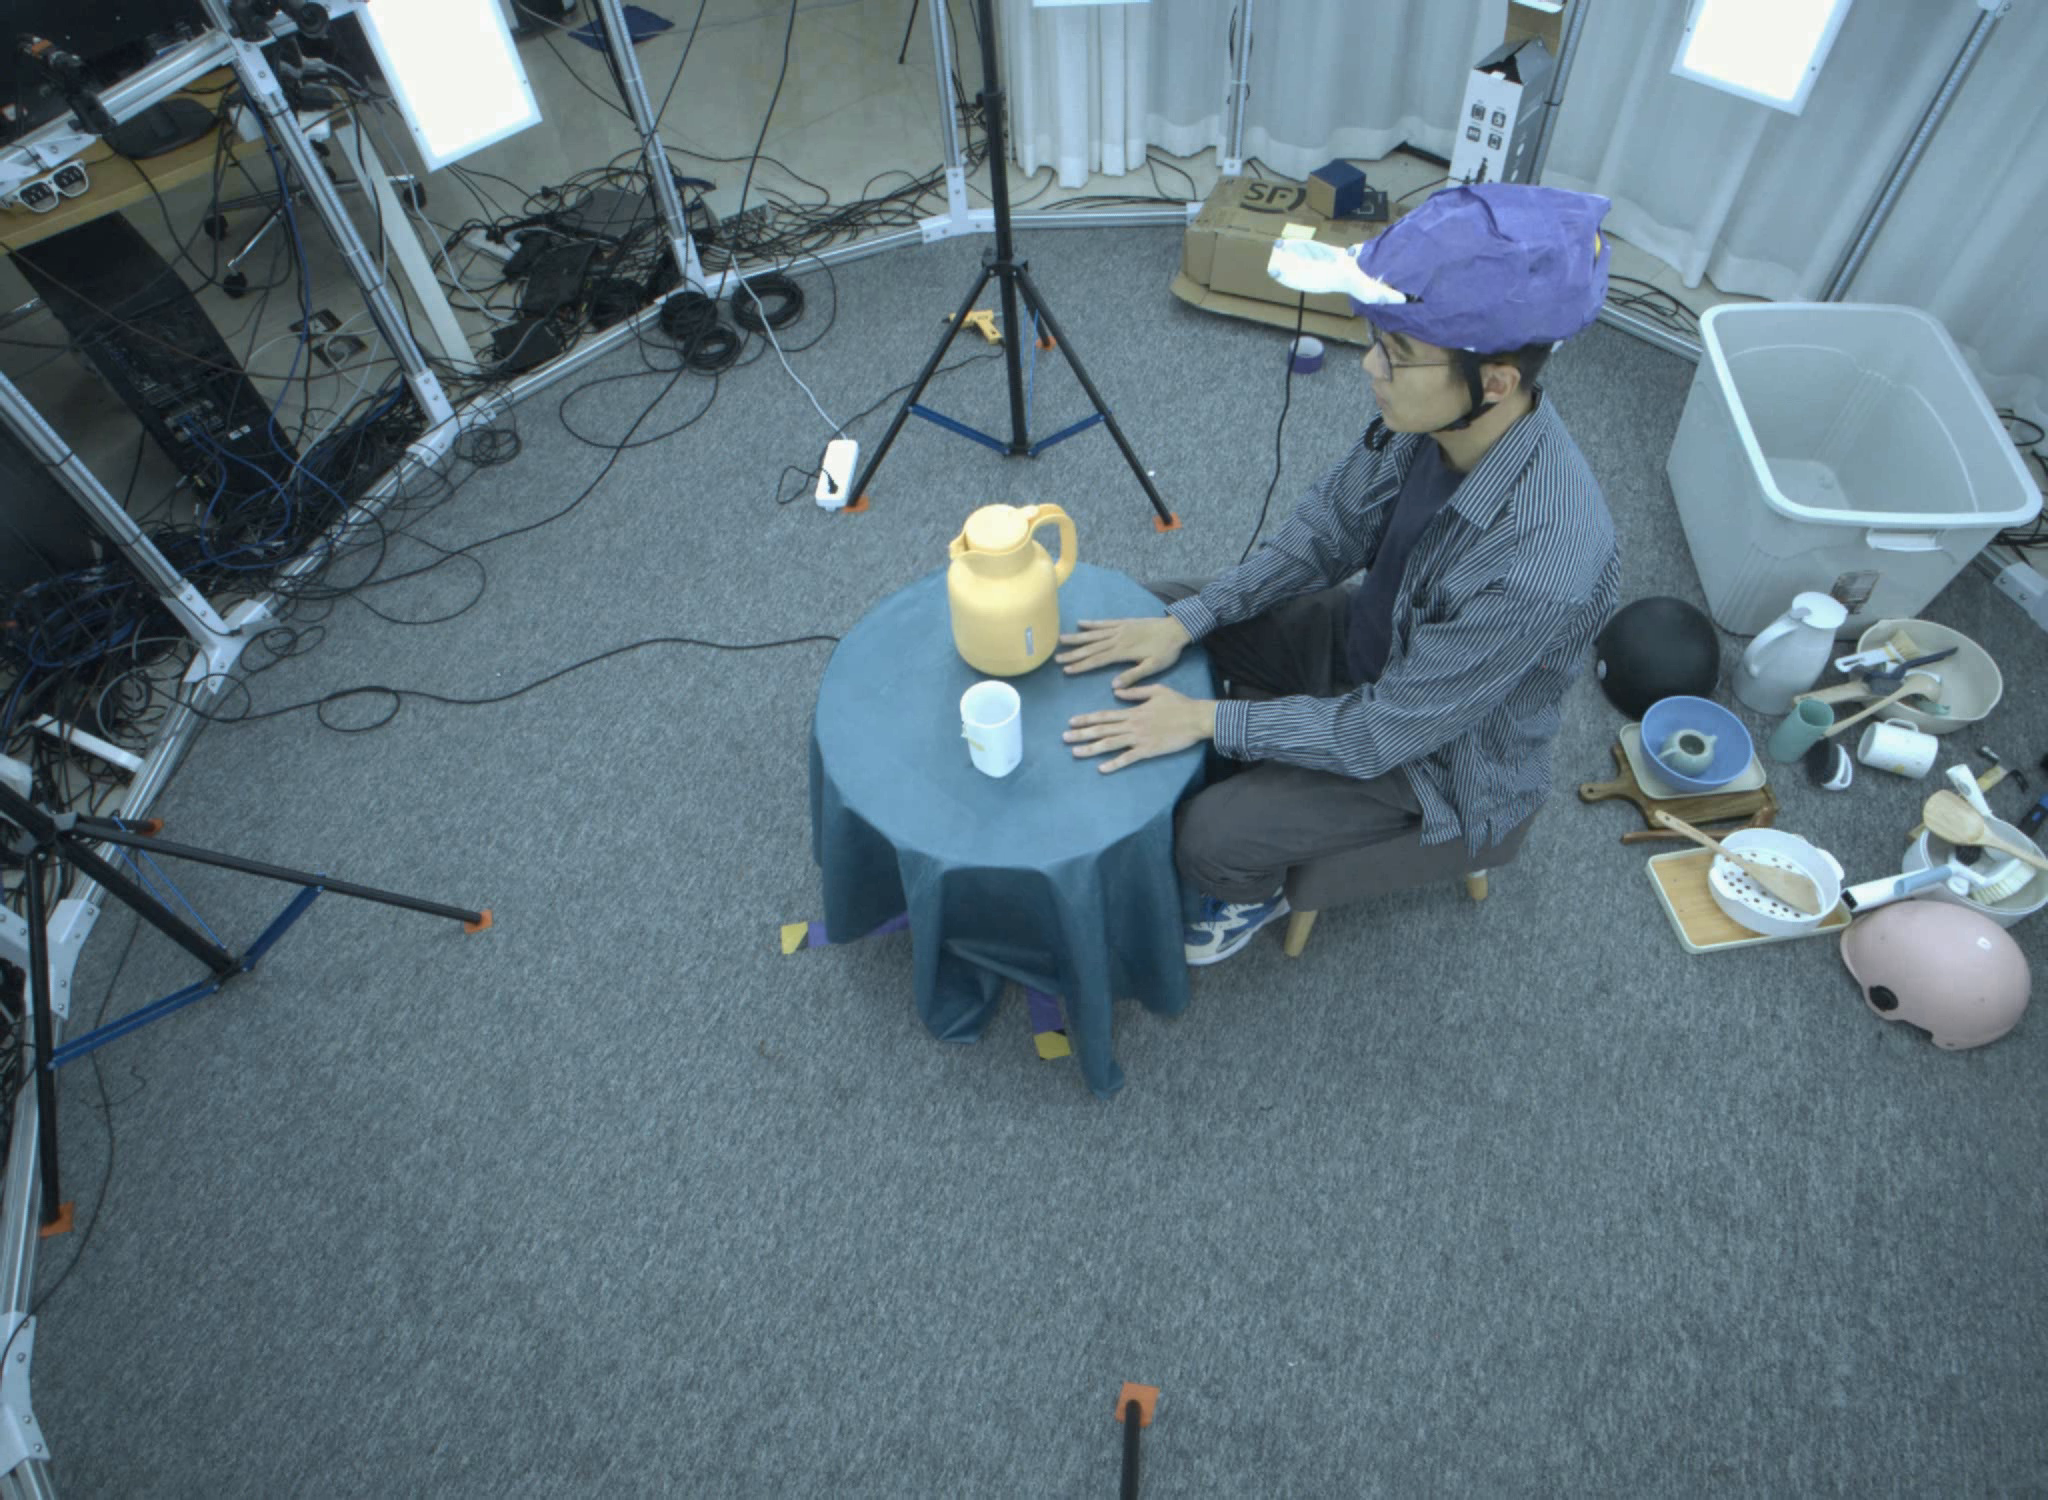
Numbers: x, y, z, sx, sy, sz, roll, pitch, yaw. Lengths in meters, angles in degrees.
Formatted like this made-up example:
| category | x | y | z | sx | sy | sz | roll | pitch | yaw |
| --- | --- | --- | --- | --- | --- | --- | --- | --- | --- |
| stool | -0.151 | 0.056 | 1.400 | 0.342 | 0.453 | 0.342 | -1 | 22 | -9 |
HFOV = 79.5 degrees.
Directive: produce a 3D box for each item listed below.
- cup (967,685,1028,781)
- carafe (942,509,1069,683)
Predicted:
| category | x | y | z | sx | sy | sz | roll | pitch | yaw |
| --- | --- | --- | --- | --- | --- | --- | --- | --- | --- |
| cup | -0.035 | -0.020 | 1.728 | 0.081 | 0.127 | 0.081 | -1 | 54 | 3 |
| carafe | -0.021 | -0.237 | 1.801 | 0.204 | 0.263 | 0.160 | -29 | 59 | -17 |
